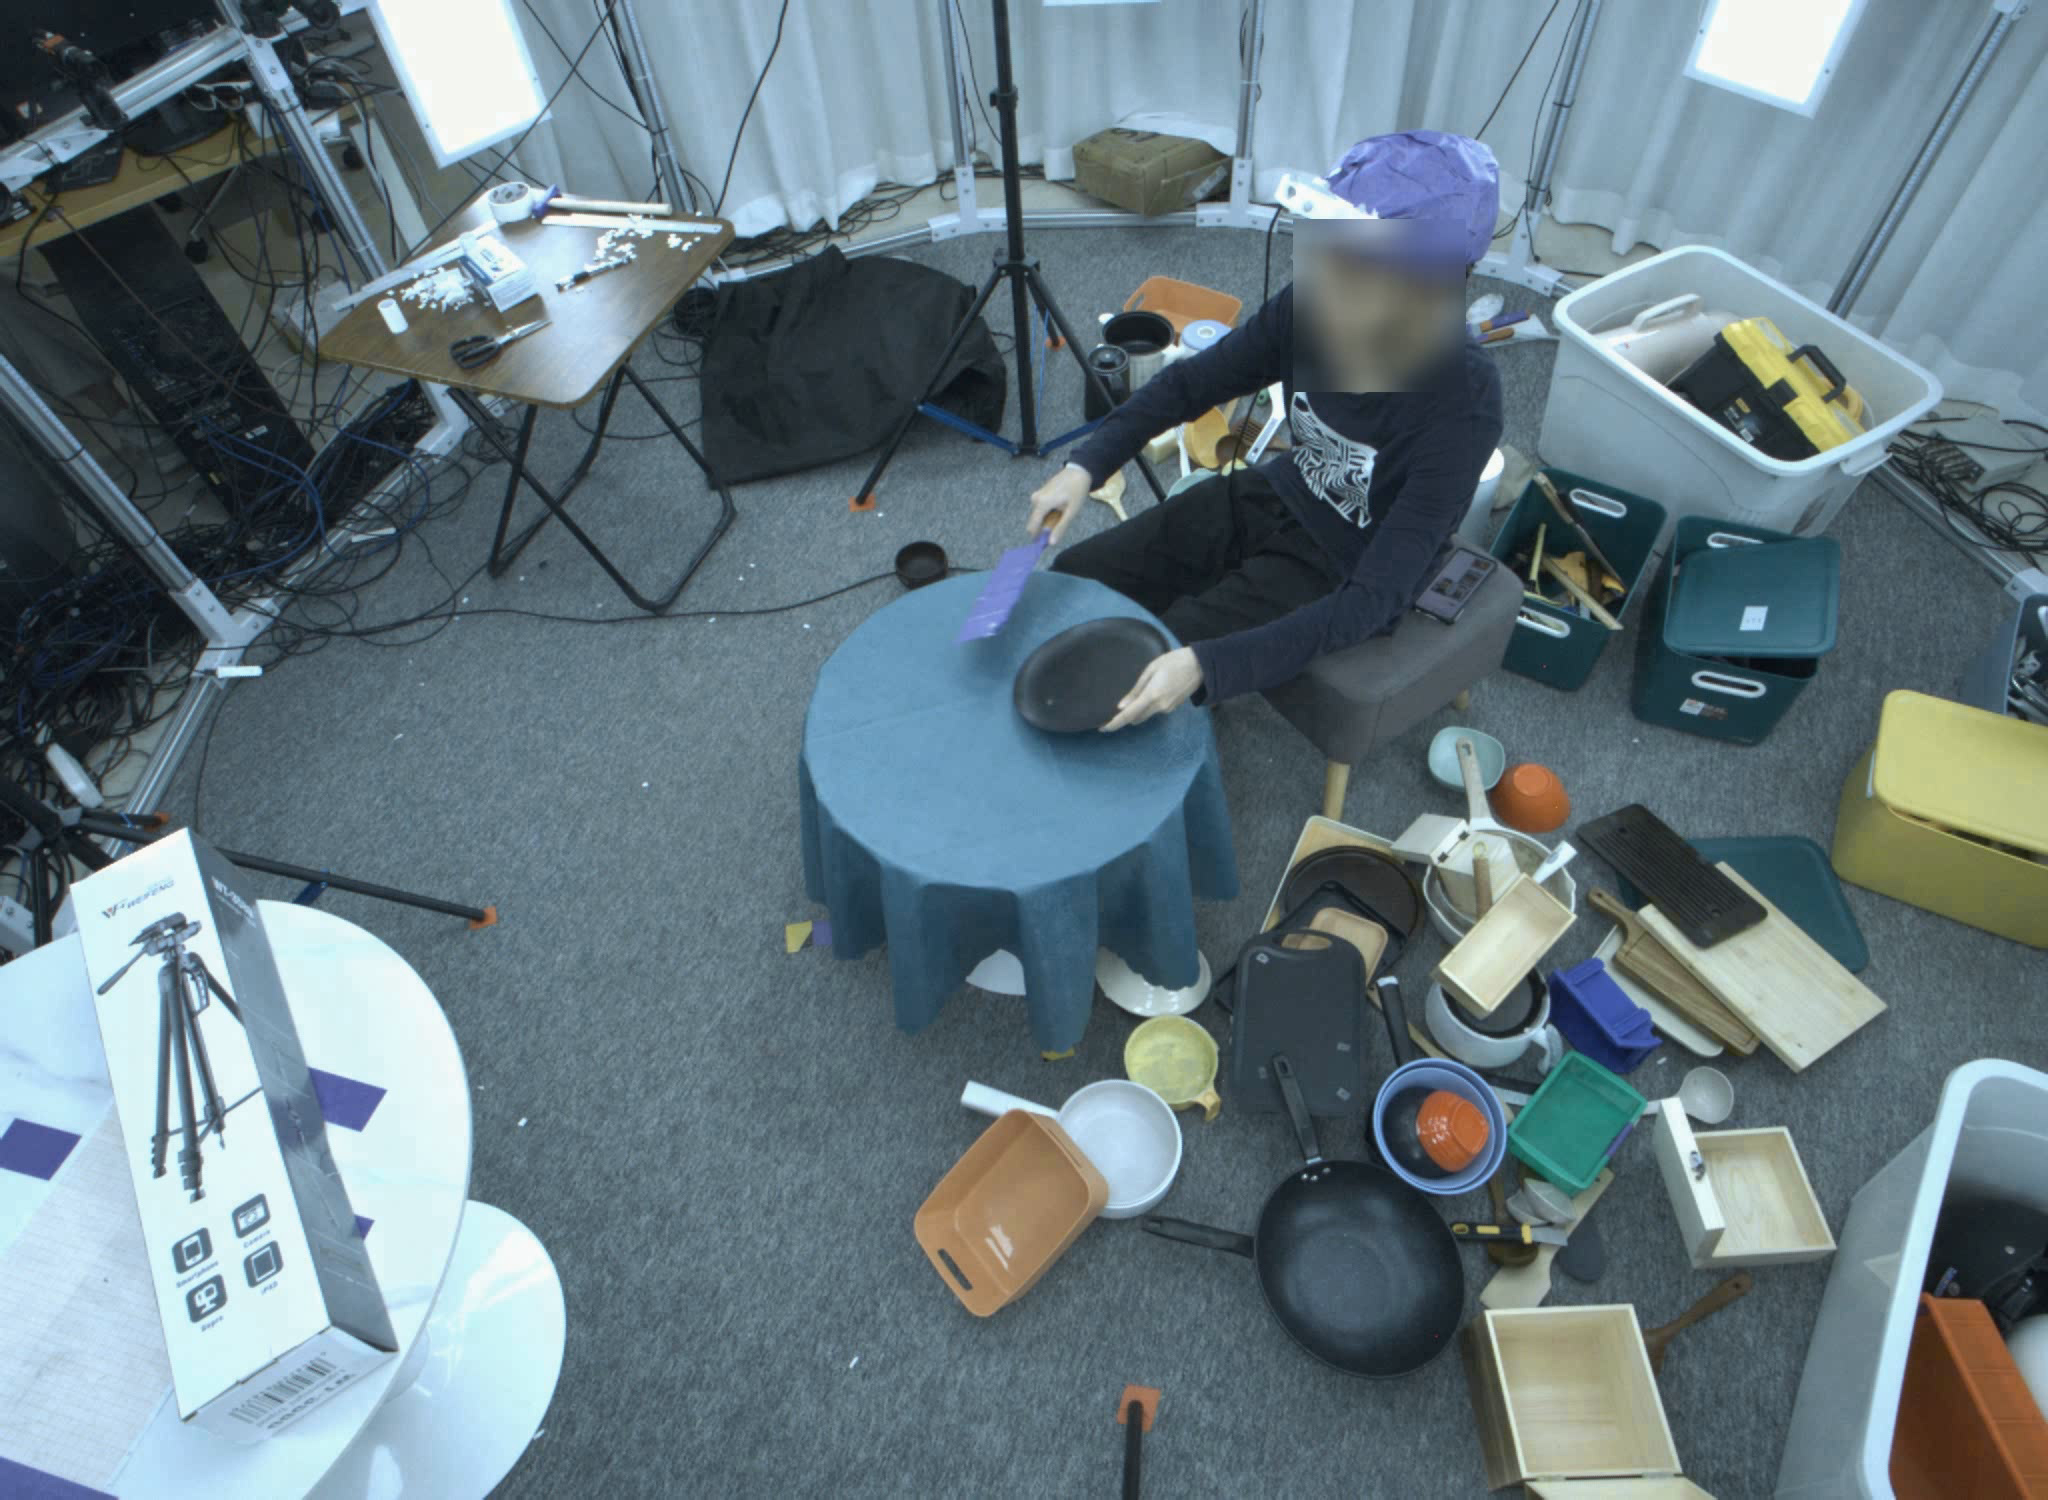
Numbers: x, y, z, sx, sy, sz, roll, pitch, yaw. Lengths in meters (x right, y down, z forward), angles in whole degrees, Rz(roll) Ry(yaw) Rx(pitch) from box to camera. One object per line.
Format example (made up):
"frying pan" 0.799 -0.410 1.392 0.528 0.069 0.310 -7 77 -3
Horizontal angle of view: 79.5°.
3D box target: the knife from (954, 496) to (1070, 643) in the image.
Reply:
"knife" -0.022 -0.282 1.898 0.102 0.033 0.315 -6 43 39

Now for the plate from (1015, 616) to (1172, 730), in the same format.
"plate" 0.103 -0.111 1.821 0.242 0.024 0.242 -13 42 13
